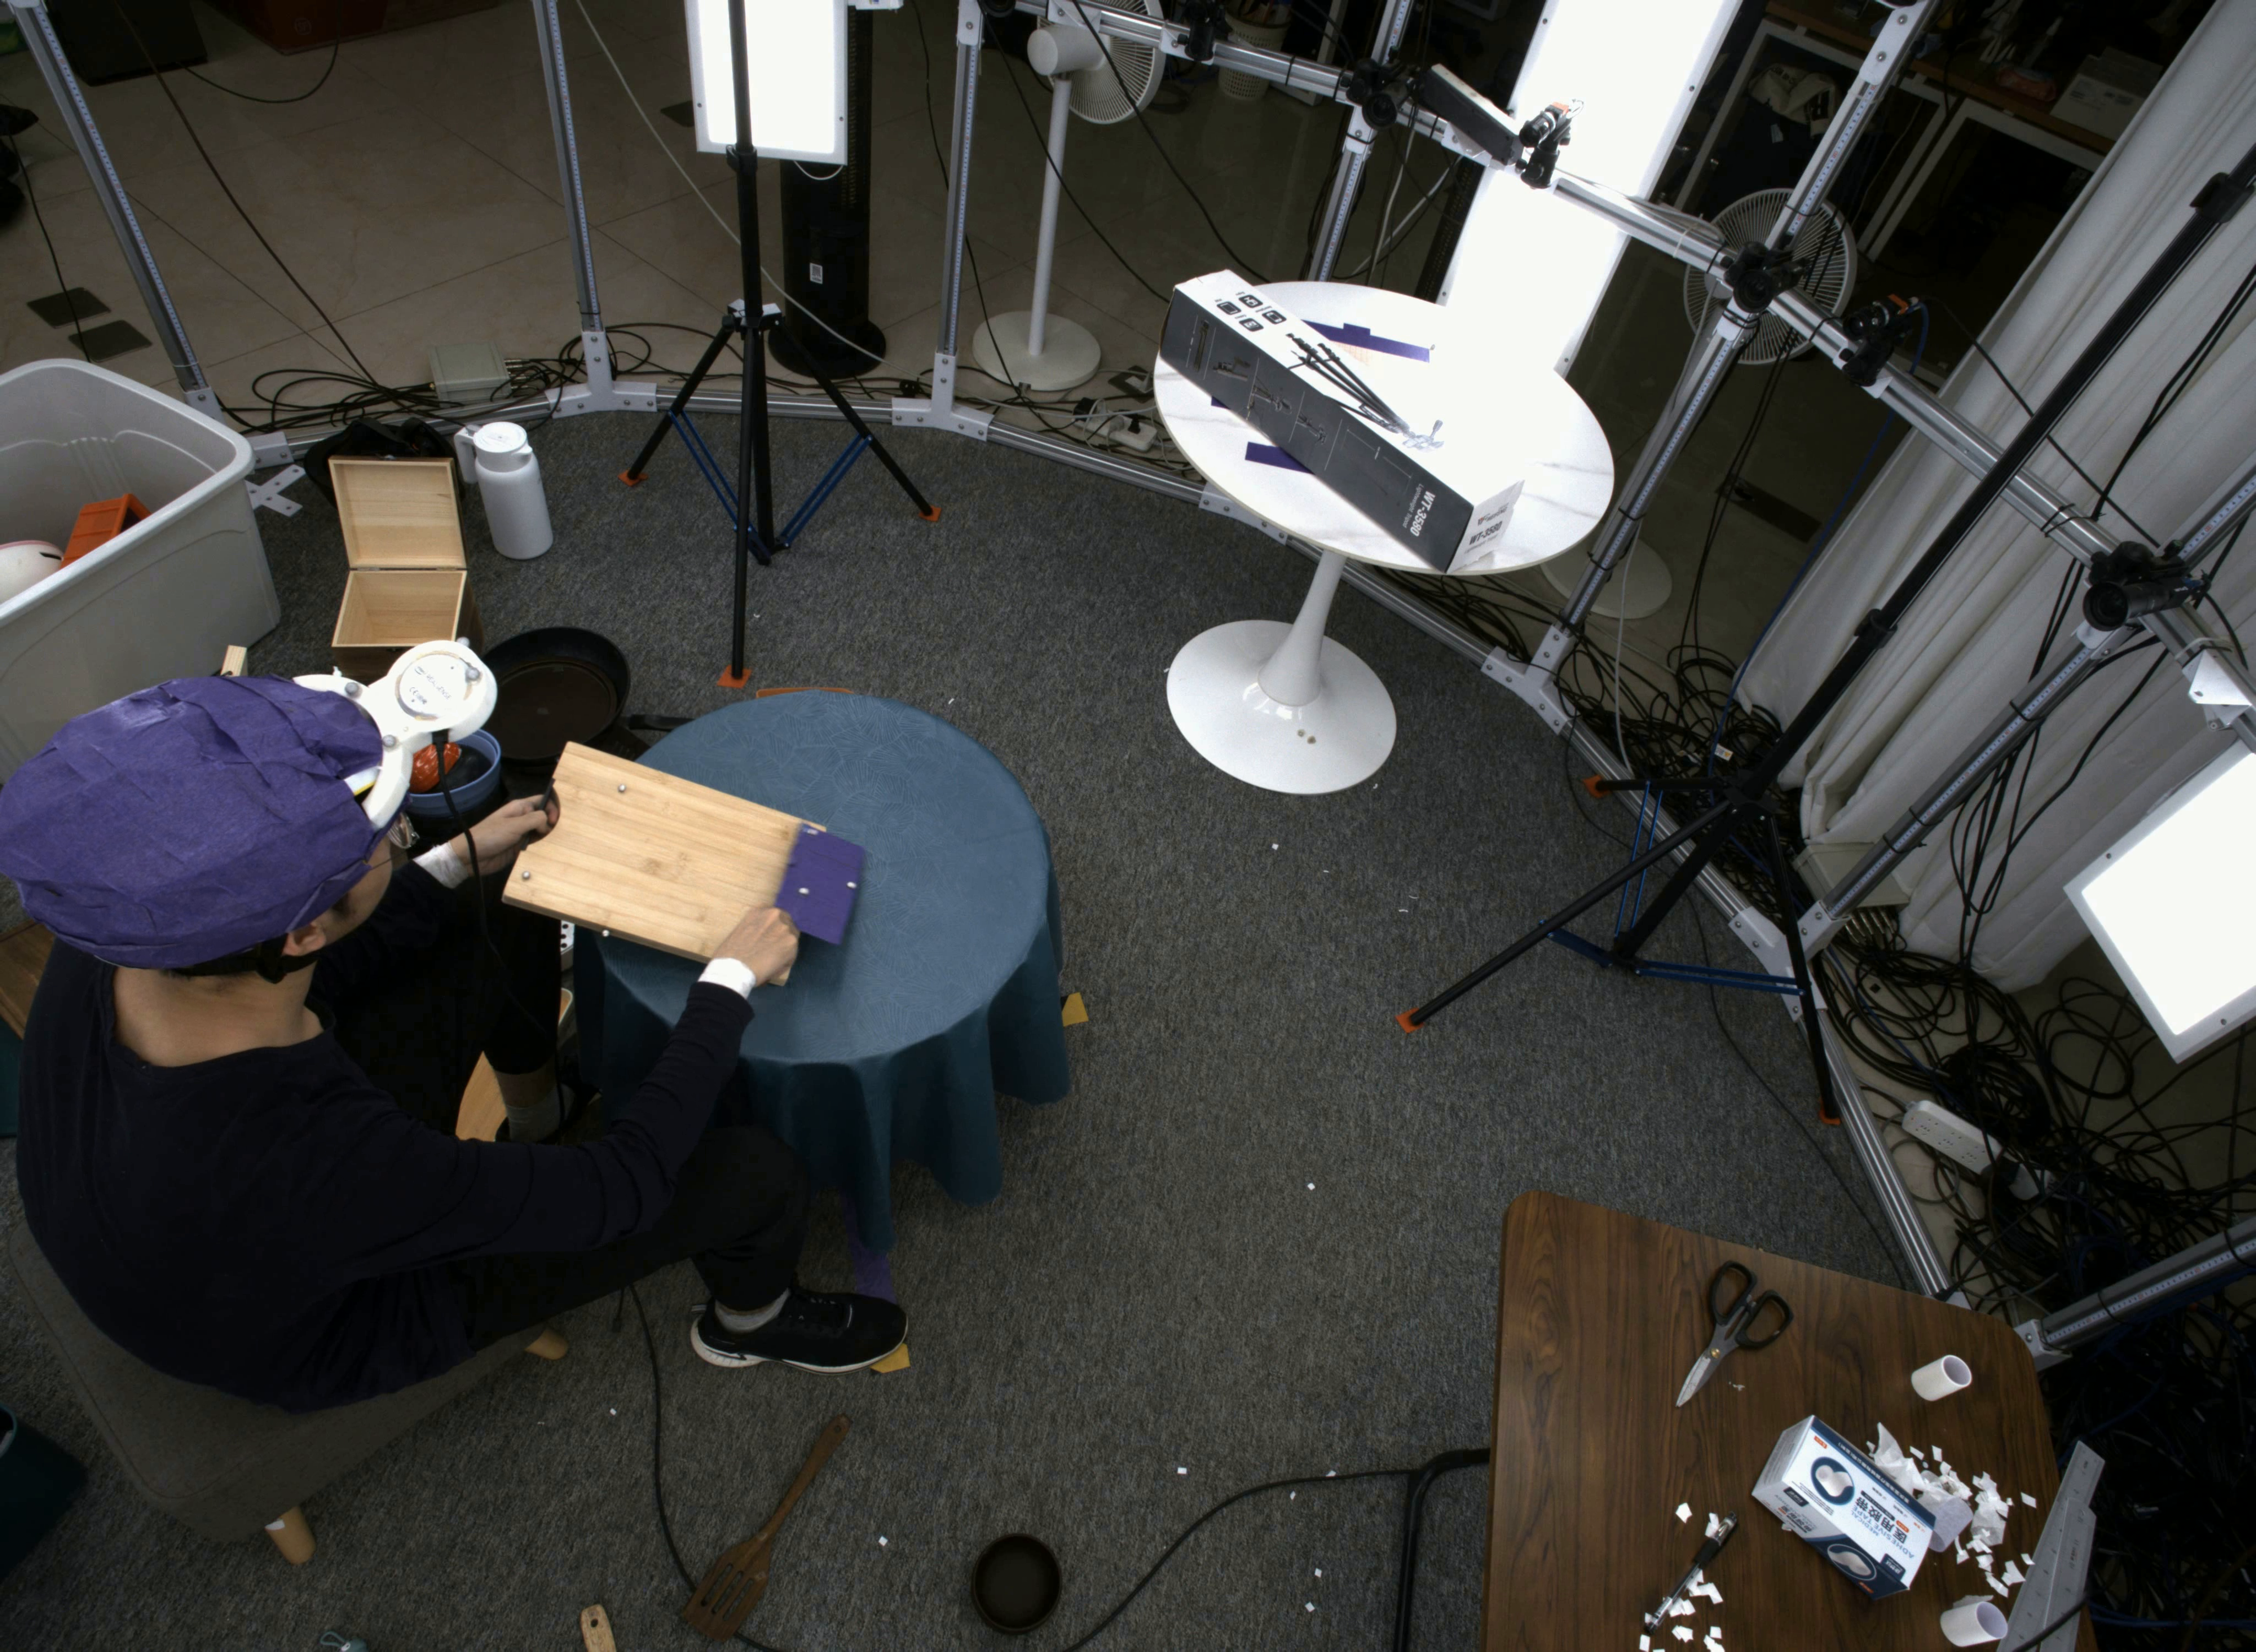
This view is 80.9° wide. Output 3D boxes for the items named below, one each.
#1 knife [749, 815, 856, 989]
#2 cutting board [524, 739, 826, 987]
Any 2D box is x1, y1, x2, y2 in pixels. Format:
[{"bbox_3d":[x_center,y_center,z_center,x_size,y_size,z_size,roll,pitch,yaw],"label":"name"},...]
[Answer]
[{"bbox_3d":[-0.391,0.090,1.588,0.105,0.032,0.308,23,33,-18],"label":"knife"},{"bbox_3d":[-0.564,0.042,1.593,0.354,0.023,0.246,20,50,-21],"label":"cutting board"}]
